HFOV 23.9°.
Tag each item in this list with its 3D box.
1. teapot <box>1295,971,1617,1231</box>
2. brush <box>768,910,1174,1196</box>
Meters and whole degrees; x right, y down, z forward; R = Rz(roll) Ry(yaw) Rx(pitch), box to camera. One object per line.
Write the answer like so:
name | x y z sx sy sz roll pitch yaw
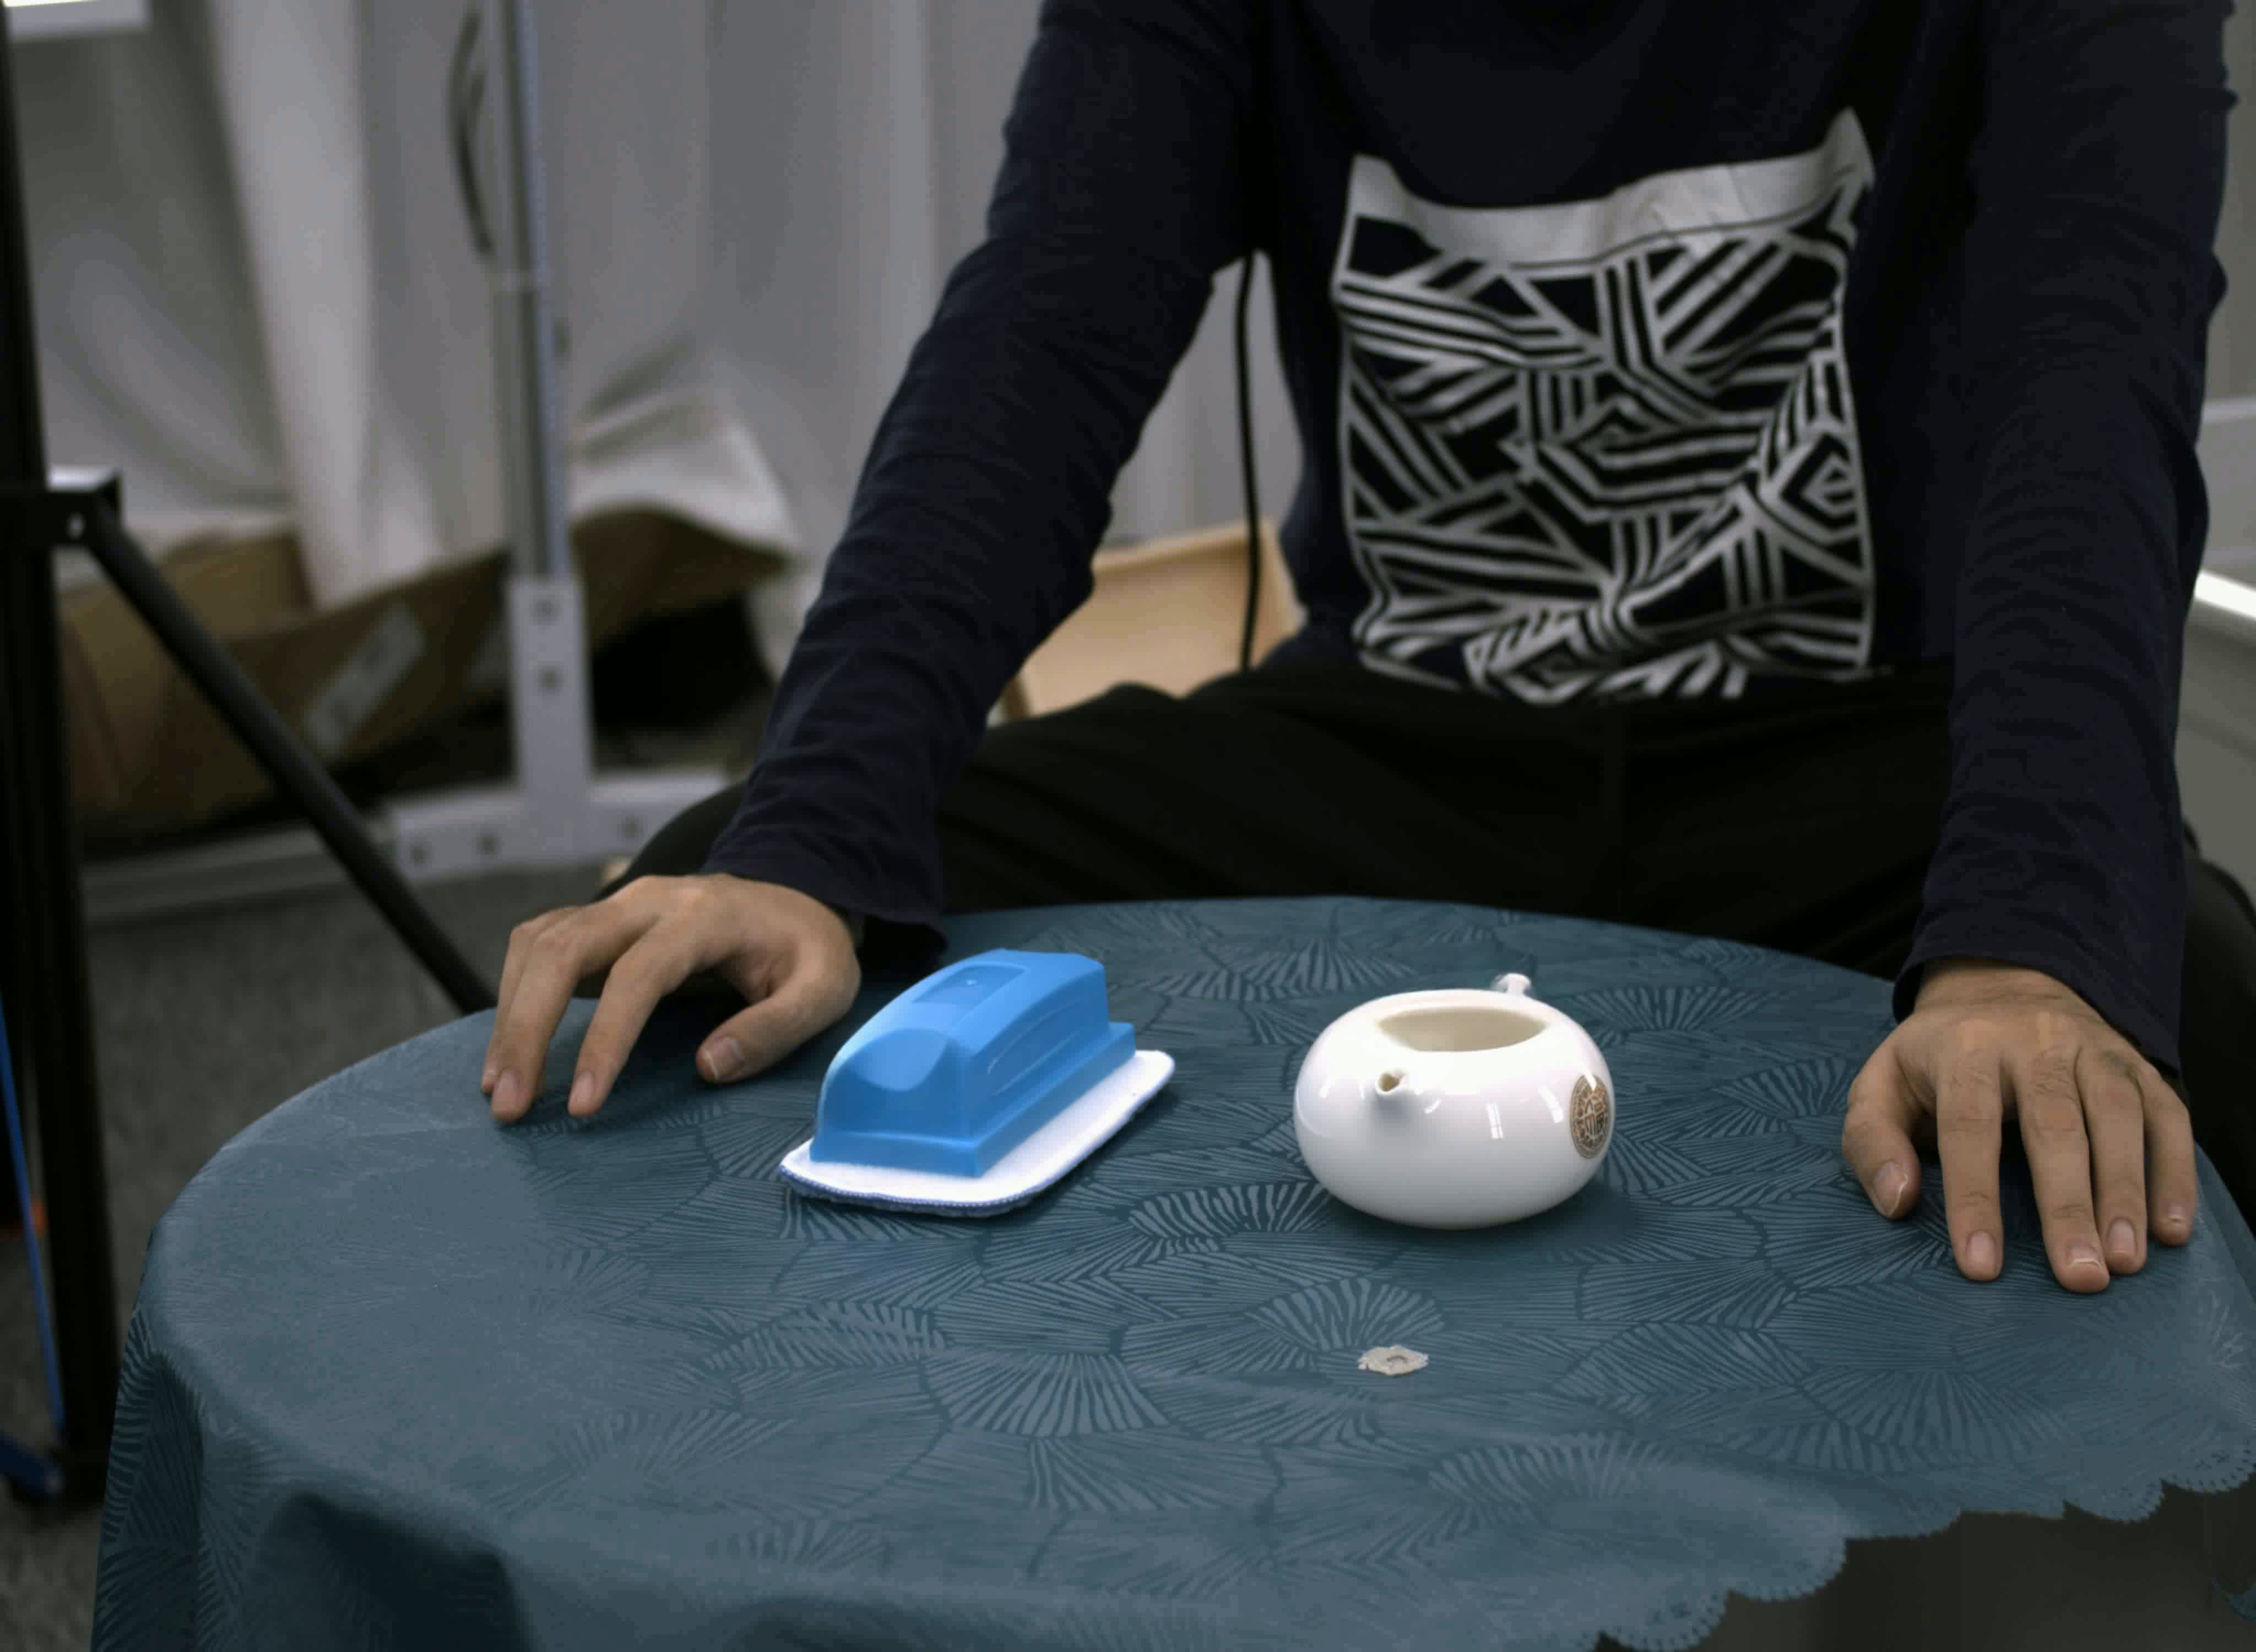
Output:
teapot | 0.099 0.080 1.545 0.094 0.056 0.126 0 15 20
brush | -0.045 0.065 1.609 0.085 0.056 0.142 9 21 24
